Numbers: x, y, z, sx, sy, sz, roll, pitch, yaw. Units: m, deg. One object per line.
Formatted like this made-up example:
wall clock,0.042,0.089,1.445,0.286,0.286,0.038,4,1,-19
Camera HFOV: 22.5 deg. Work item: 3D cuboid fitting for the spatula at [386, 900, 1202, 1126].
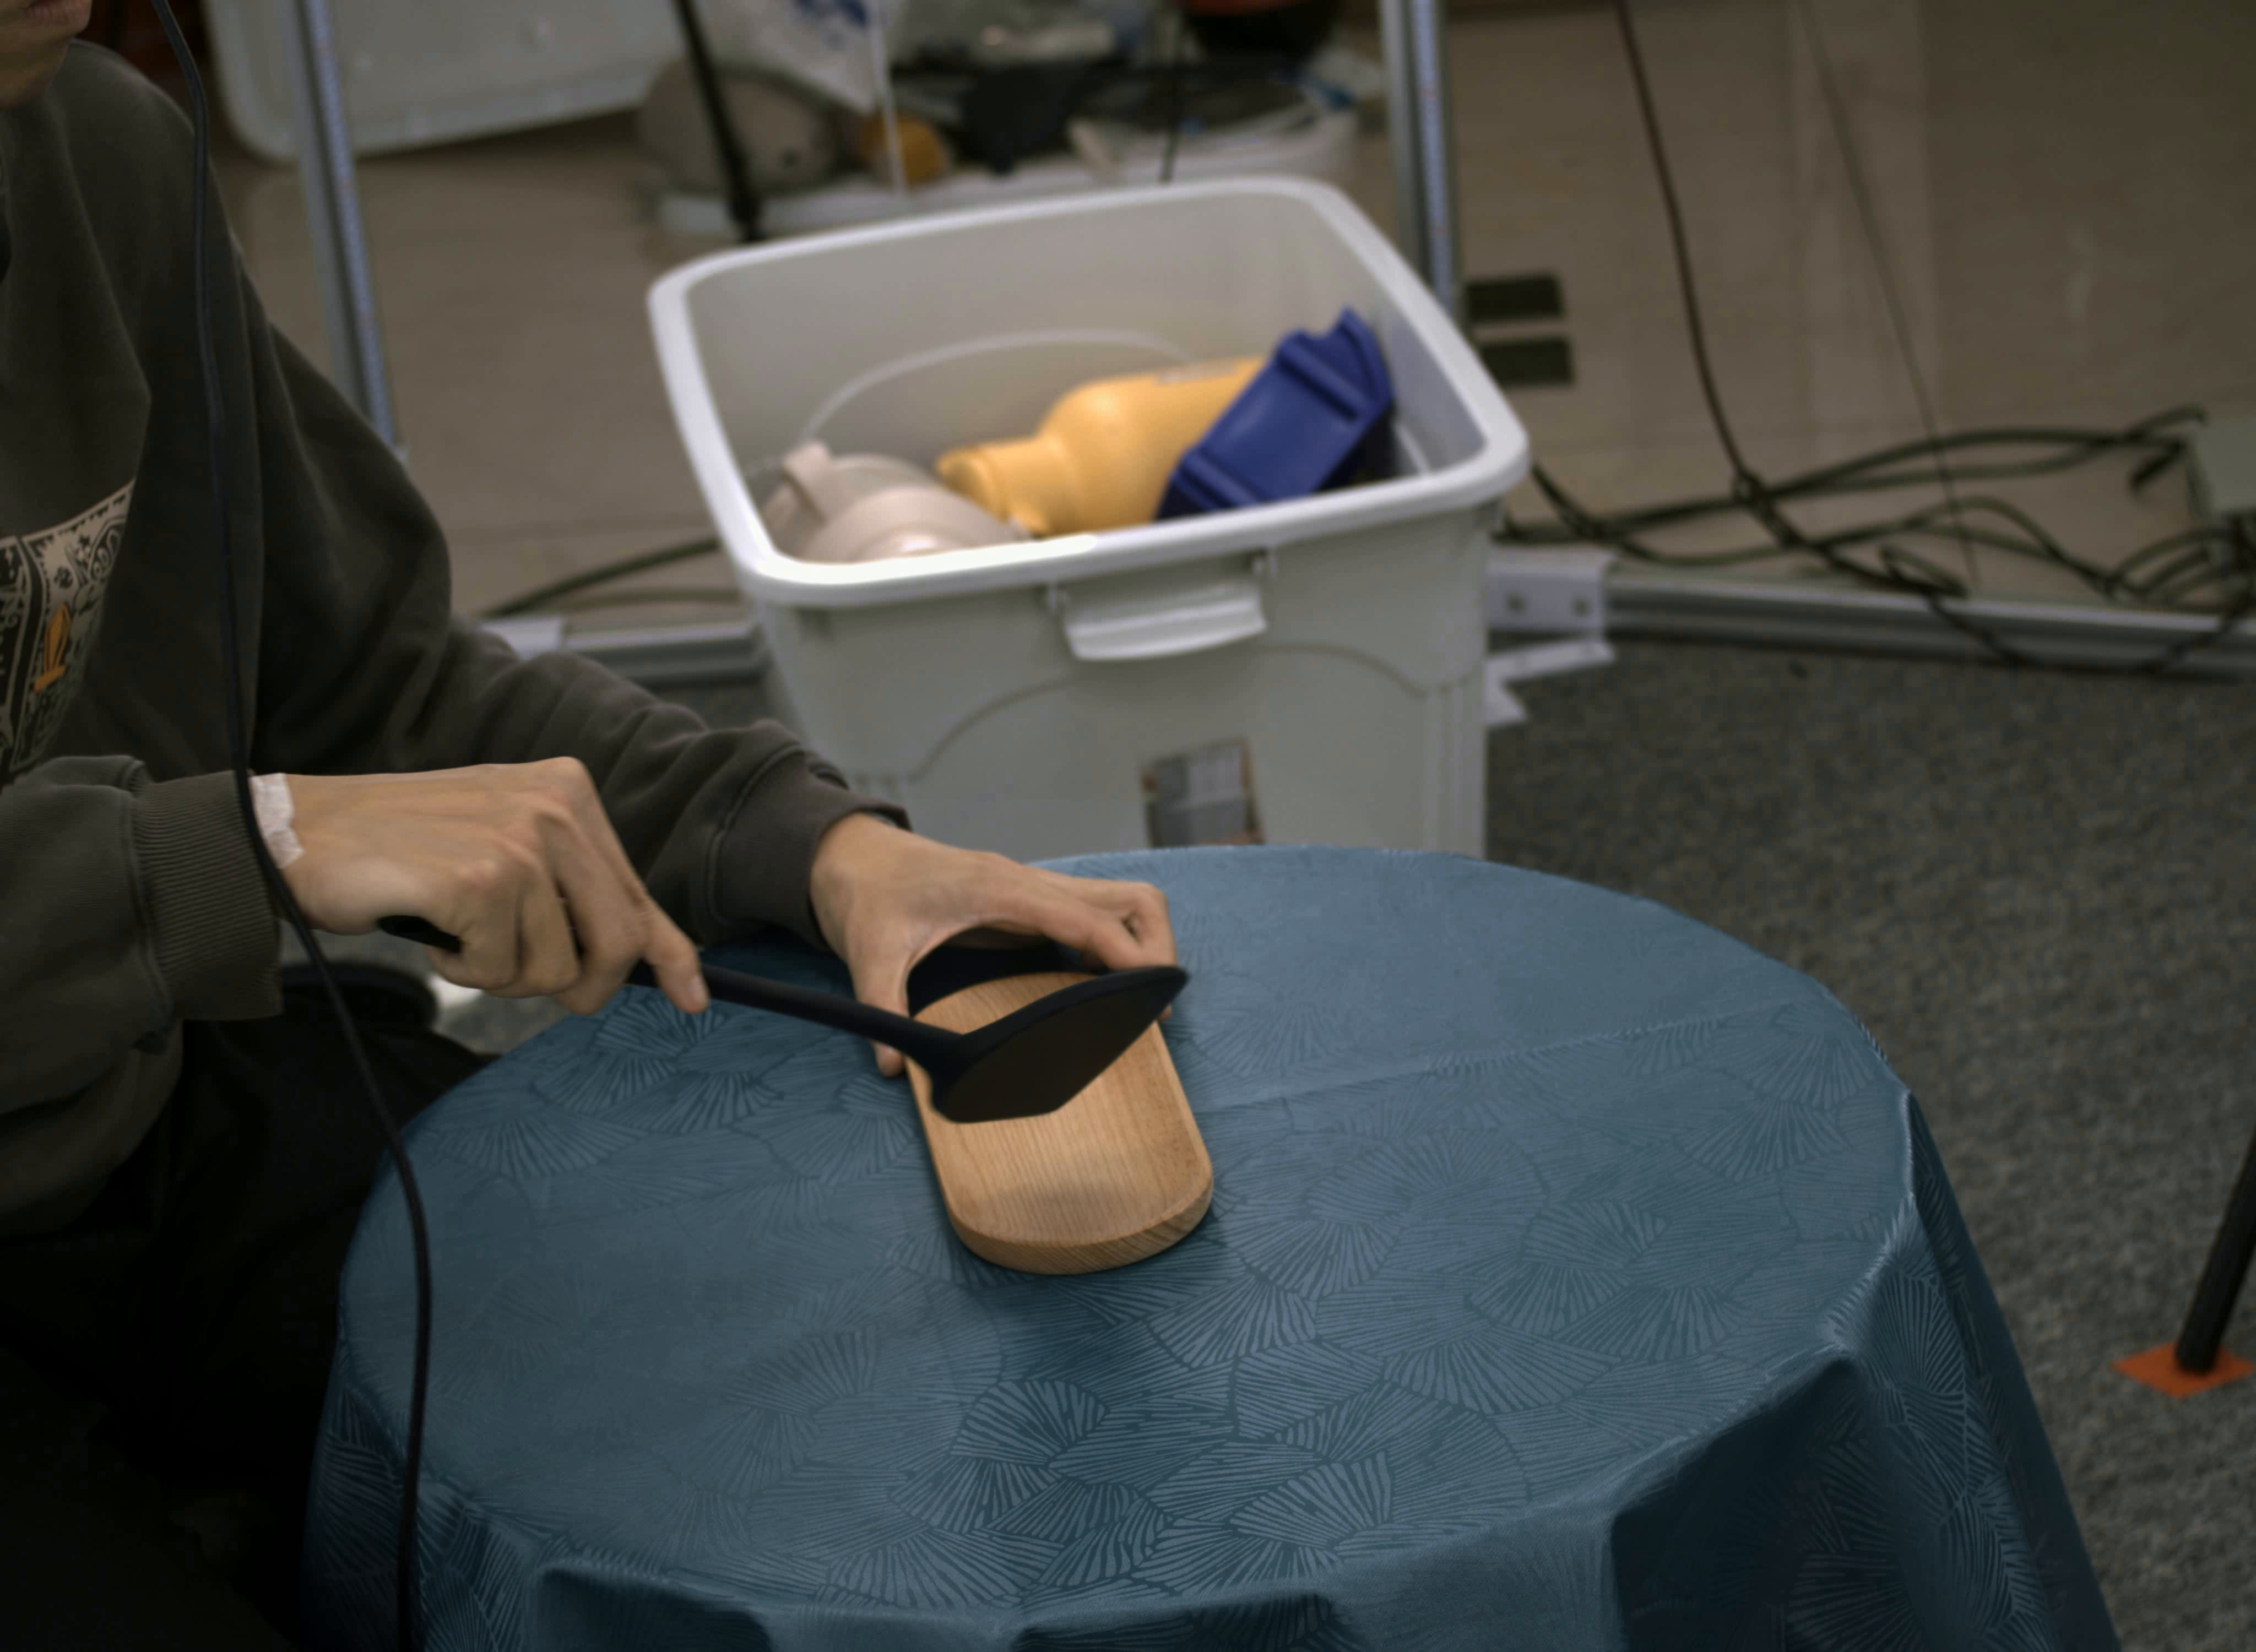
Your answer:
spatula,-0.121,0.056,2.017,0.327,0.101,0.039,16,43,-33

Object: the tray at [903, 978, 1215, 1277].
tray,-0.028,0.114,2.188,0.101,0.020,0.228,-11,26,-5
